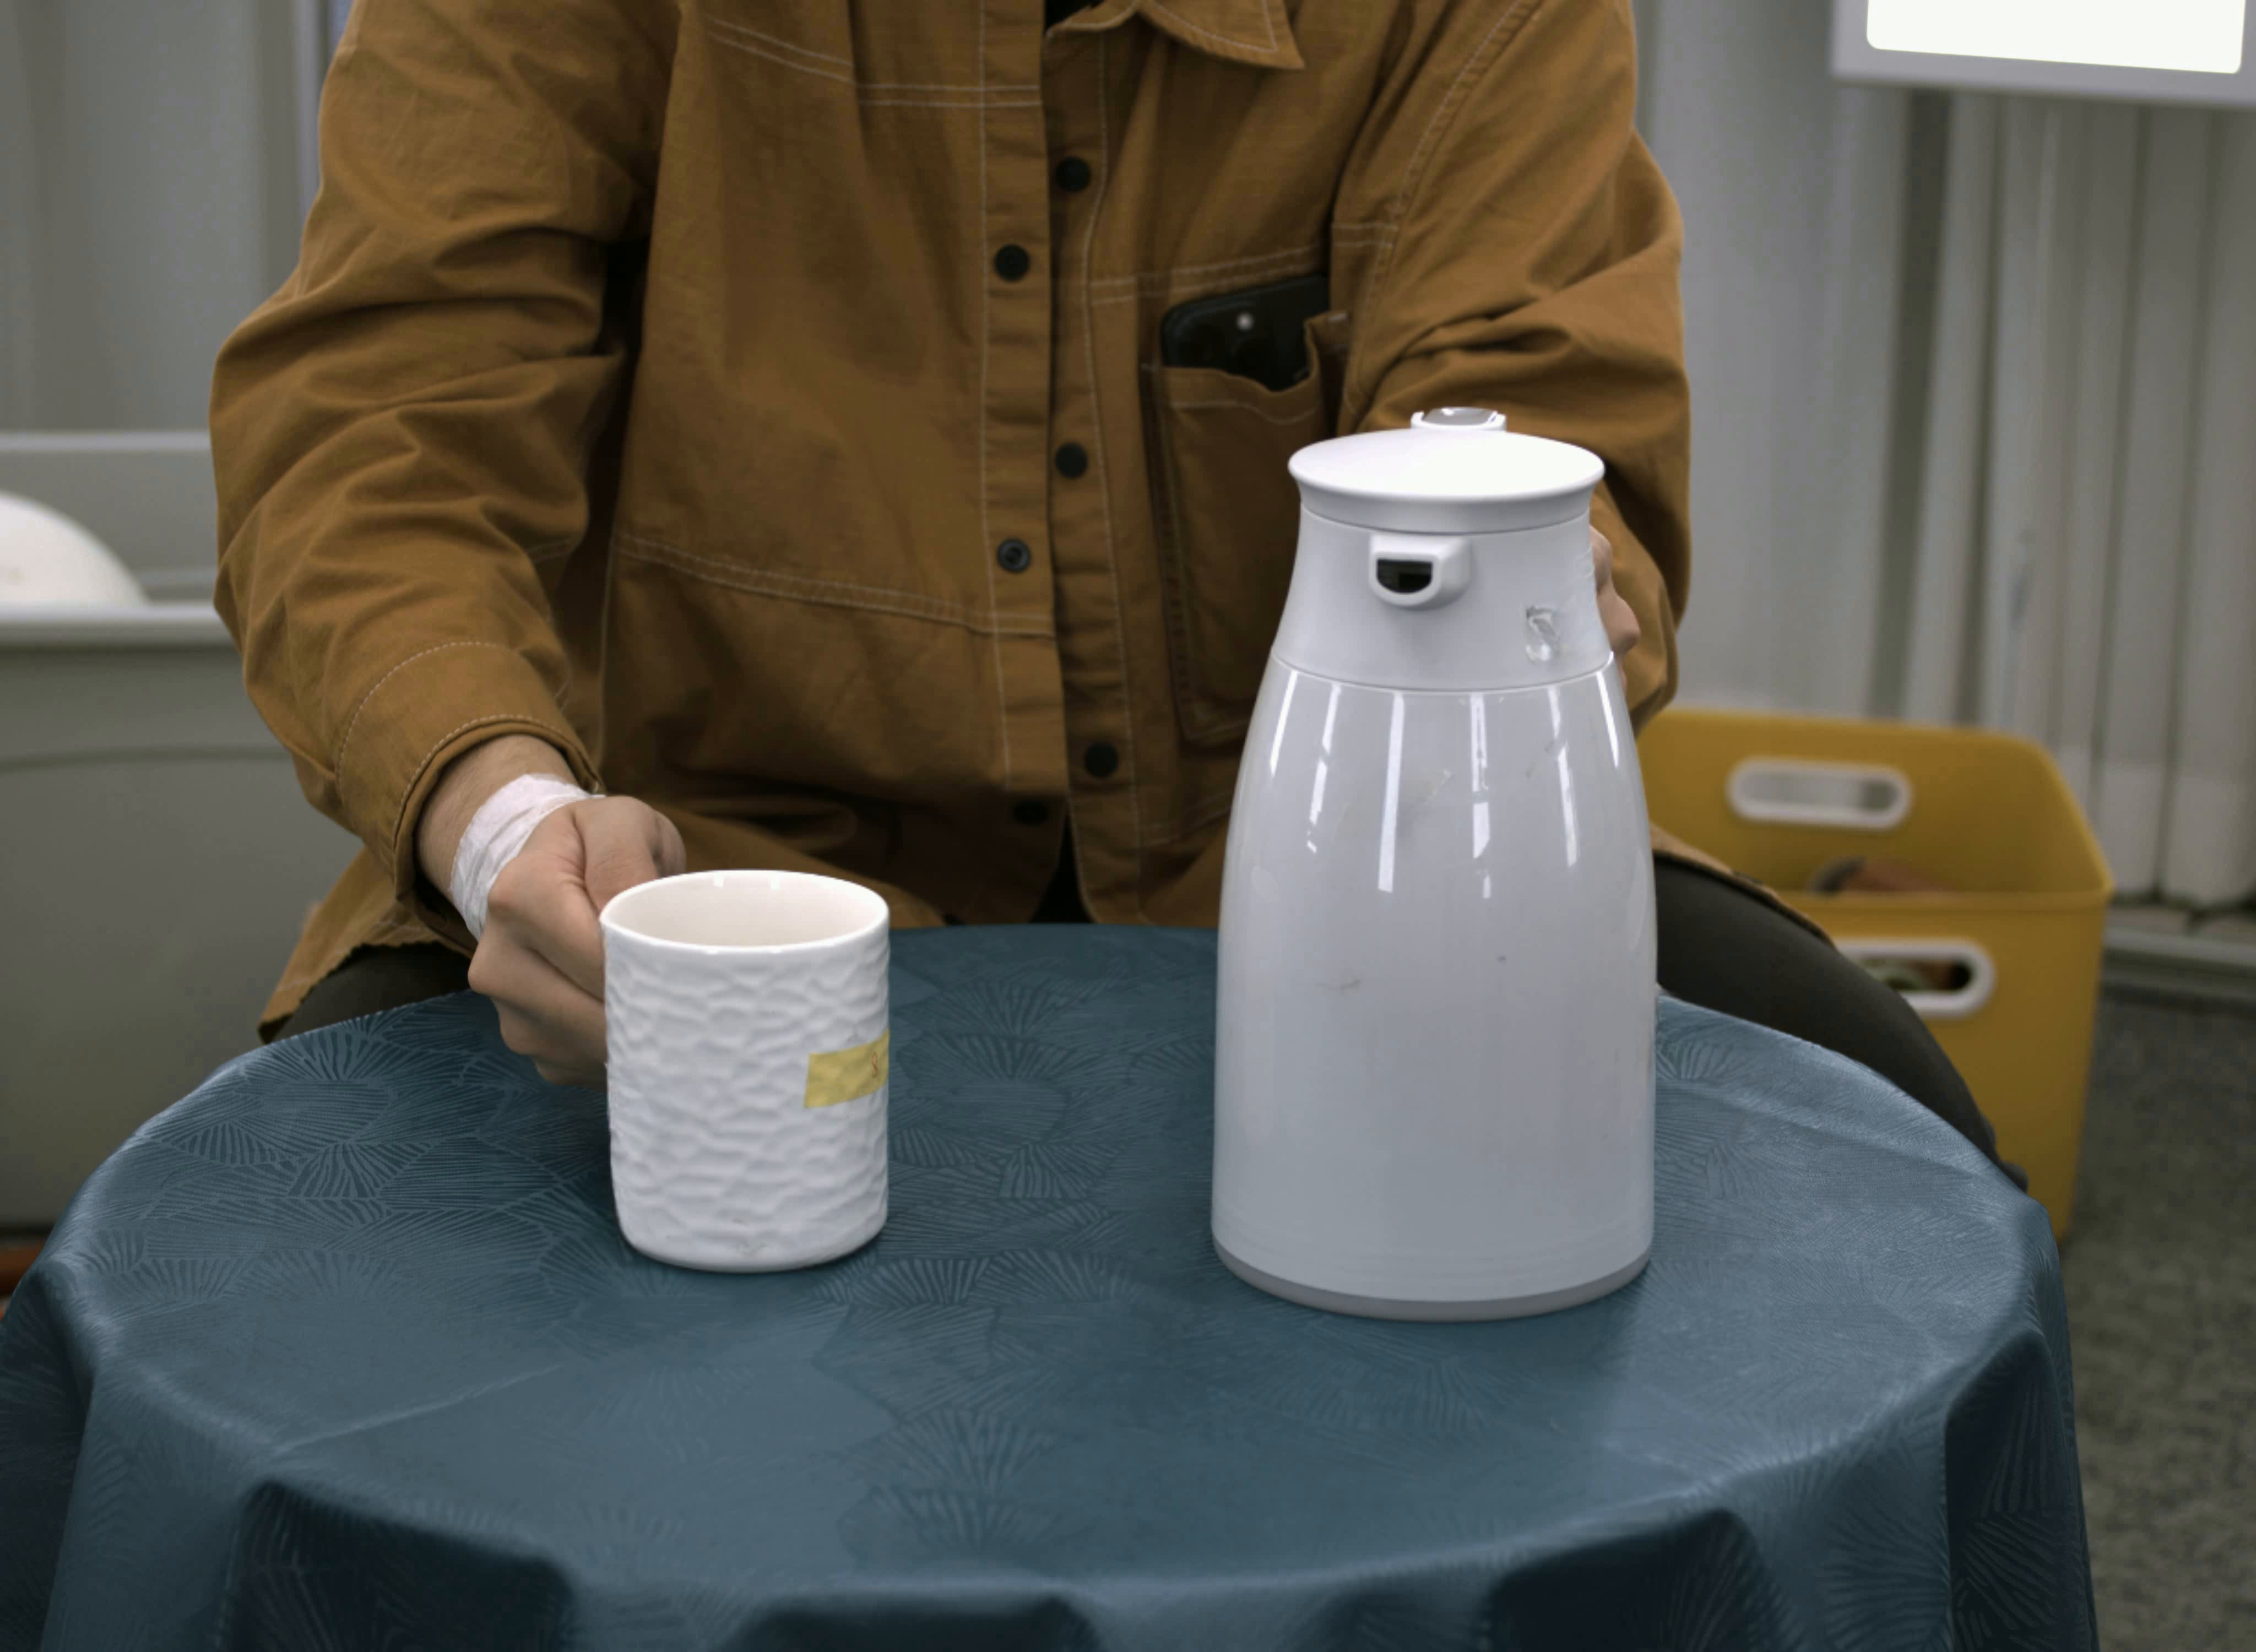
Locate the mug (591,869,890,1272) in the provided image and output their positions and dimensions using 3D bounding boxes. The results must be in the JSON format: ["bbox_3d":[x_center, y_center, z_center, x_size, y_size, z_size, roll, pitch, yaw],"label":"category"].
[{"bbox_3d":[-0.124,0.069,1.582,0.085,0.103,0.116,-12,19,-39],"label":"mug"}]

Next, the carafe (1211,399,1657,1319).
[{"bbox_3d":[0.093,0.001,1.561,0.131,0.250,0.167,3,16,11],"label":"carafe"}]
